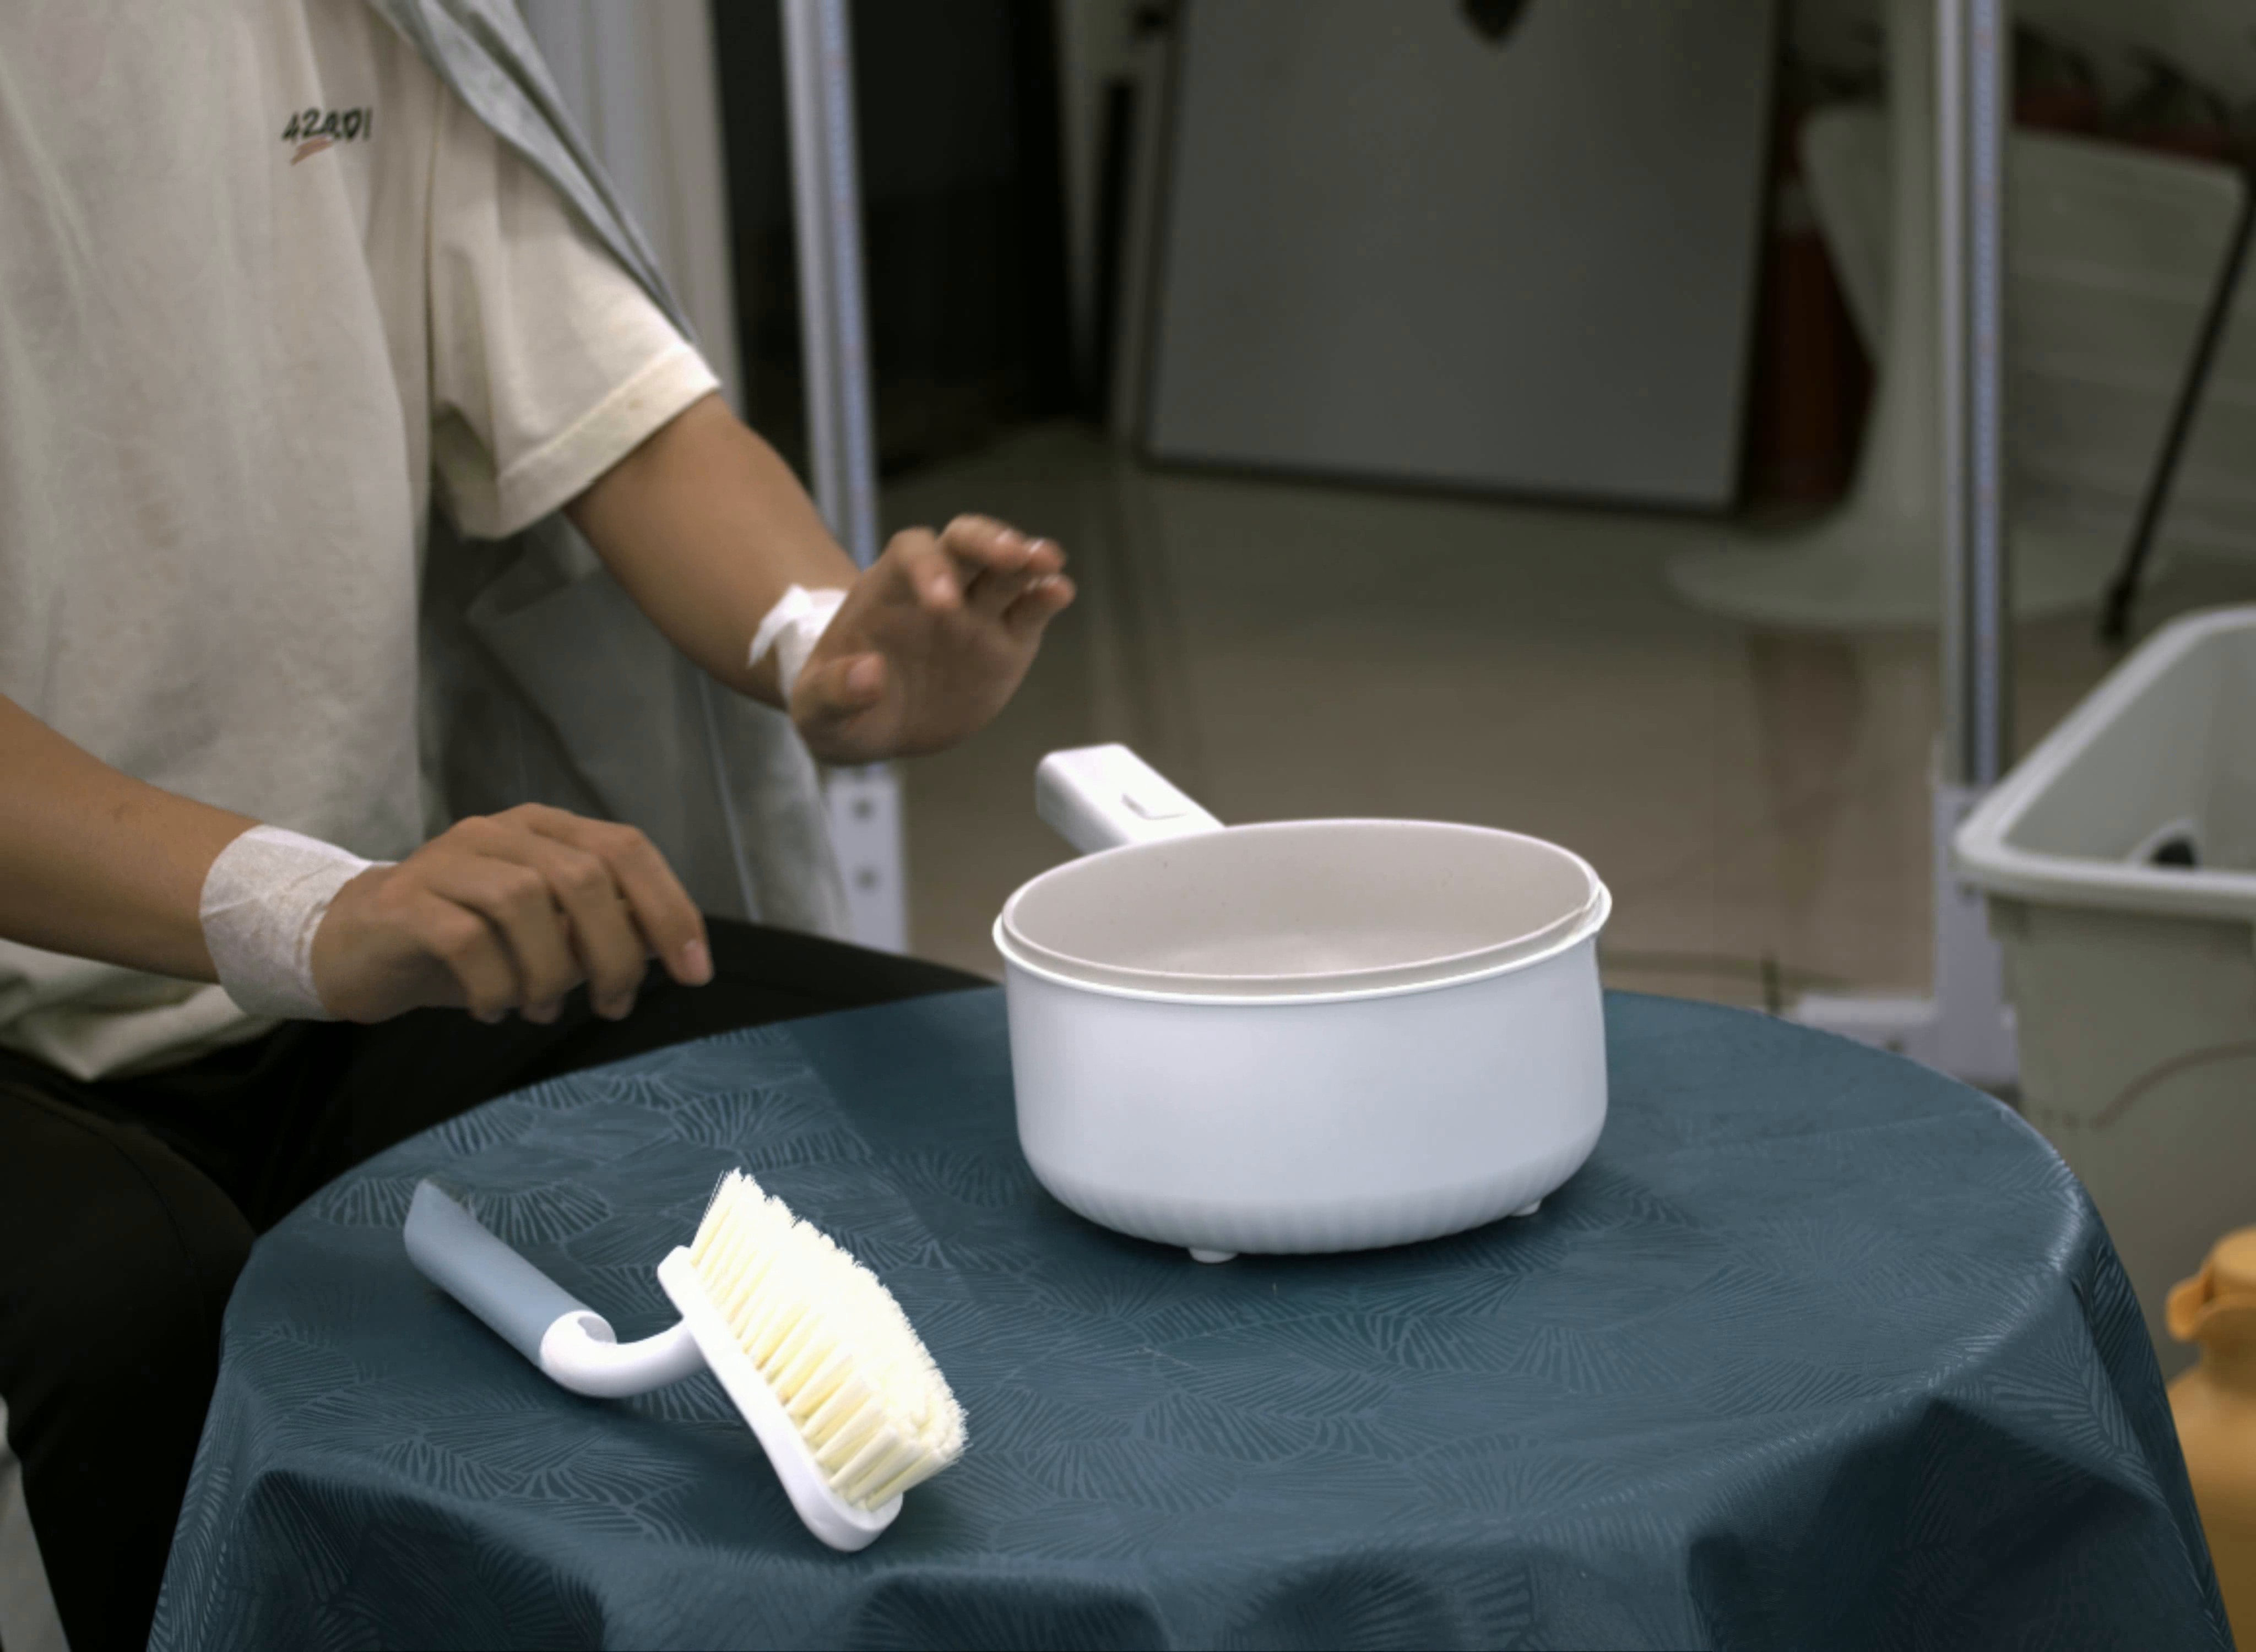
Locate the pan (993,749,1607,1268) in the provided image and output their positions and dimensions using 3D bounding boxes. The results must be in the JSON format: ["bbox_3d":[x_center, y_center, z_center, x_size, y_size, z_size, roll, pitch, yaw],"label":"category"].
[{"bbox_3d":[0.037,0.056,1.823,0.197,0.103,0.357,-8,14,-15],"label":"pan"}]

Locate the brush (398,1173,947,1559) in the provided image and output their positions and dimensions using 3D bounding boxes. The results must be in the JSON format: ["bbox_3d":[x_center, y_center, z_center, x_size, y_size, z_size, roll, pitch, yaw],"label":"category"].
[{"bbox_3d":[-0.136,0.130,1.606,0.083,0.084,0.329,-18,19,-23],"label":"brush"}]
